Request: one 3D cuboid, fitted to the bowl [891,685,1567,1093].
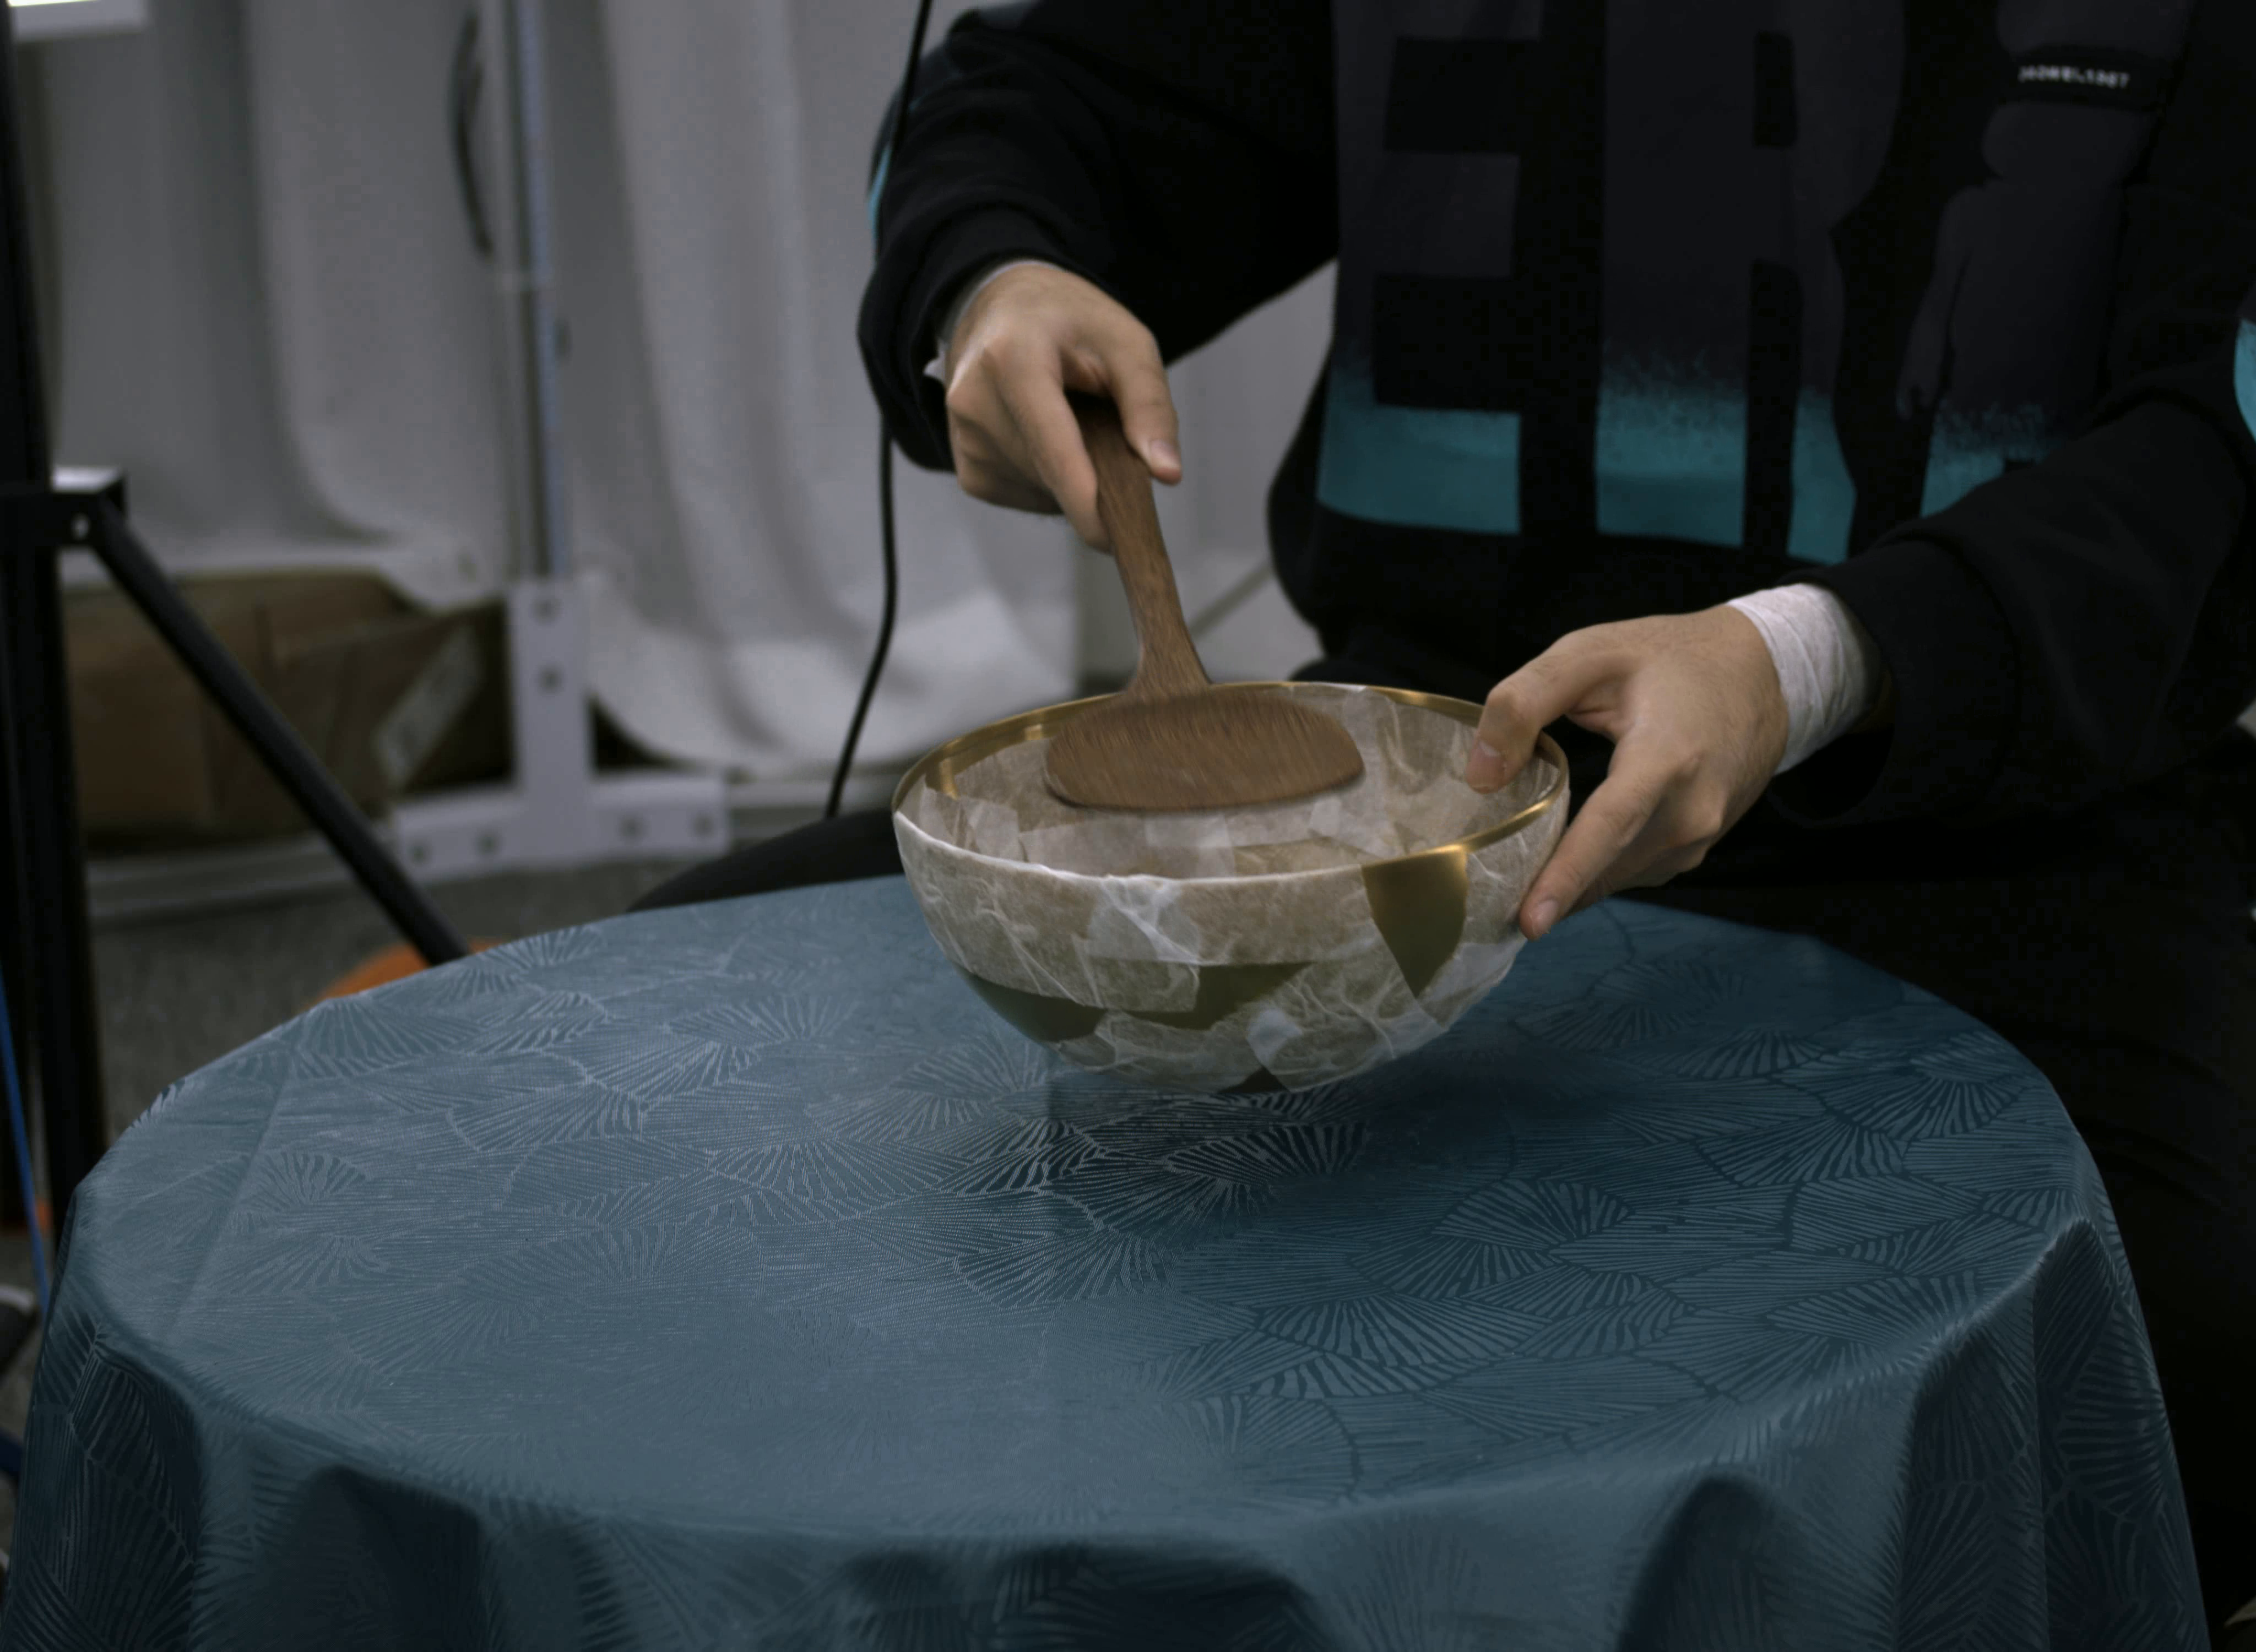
[{"bbox_3d":[0.035,0.026,1.593,0.213,0.094,0.216,-4,15,0],"label":"bowl"}]

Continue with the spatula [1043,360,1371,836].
[{"bbox_3d":[0.005,-0.081,1.707,0.095,0.016,0.390,-5,26,-5],"label":"spatula"}]
